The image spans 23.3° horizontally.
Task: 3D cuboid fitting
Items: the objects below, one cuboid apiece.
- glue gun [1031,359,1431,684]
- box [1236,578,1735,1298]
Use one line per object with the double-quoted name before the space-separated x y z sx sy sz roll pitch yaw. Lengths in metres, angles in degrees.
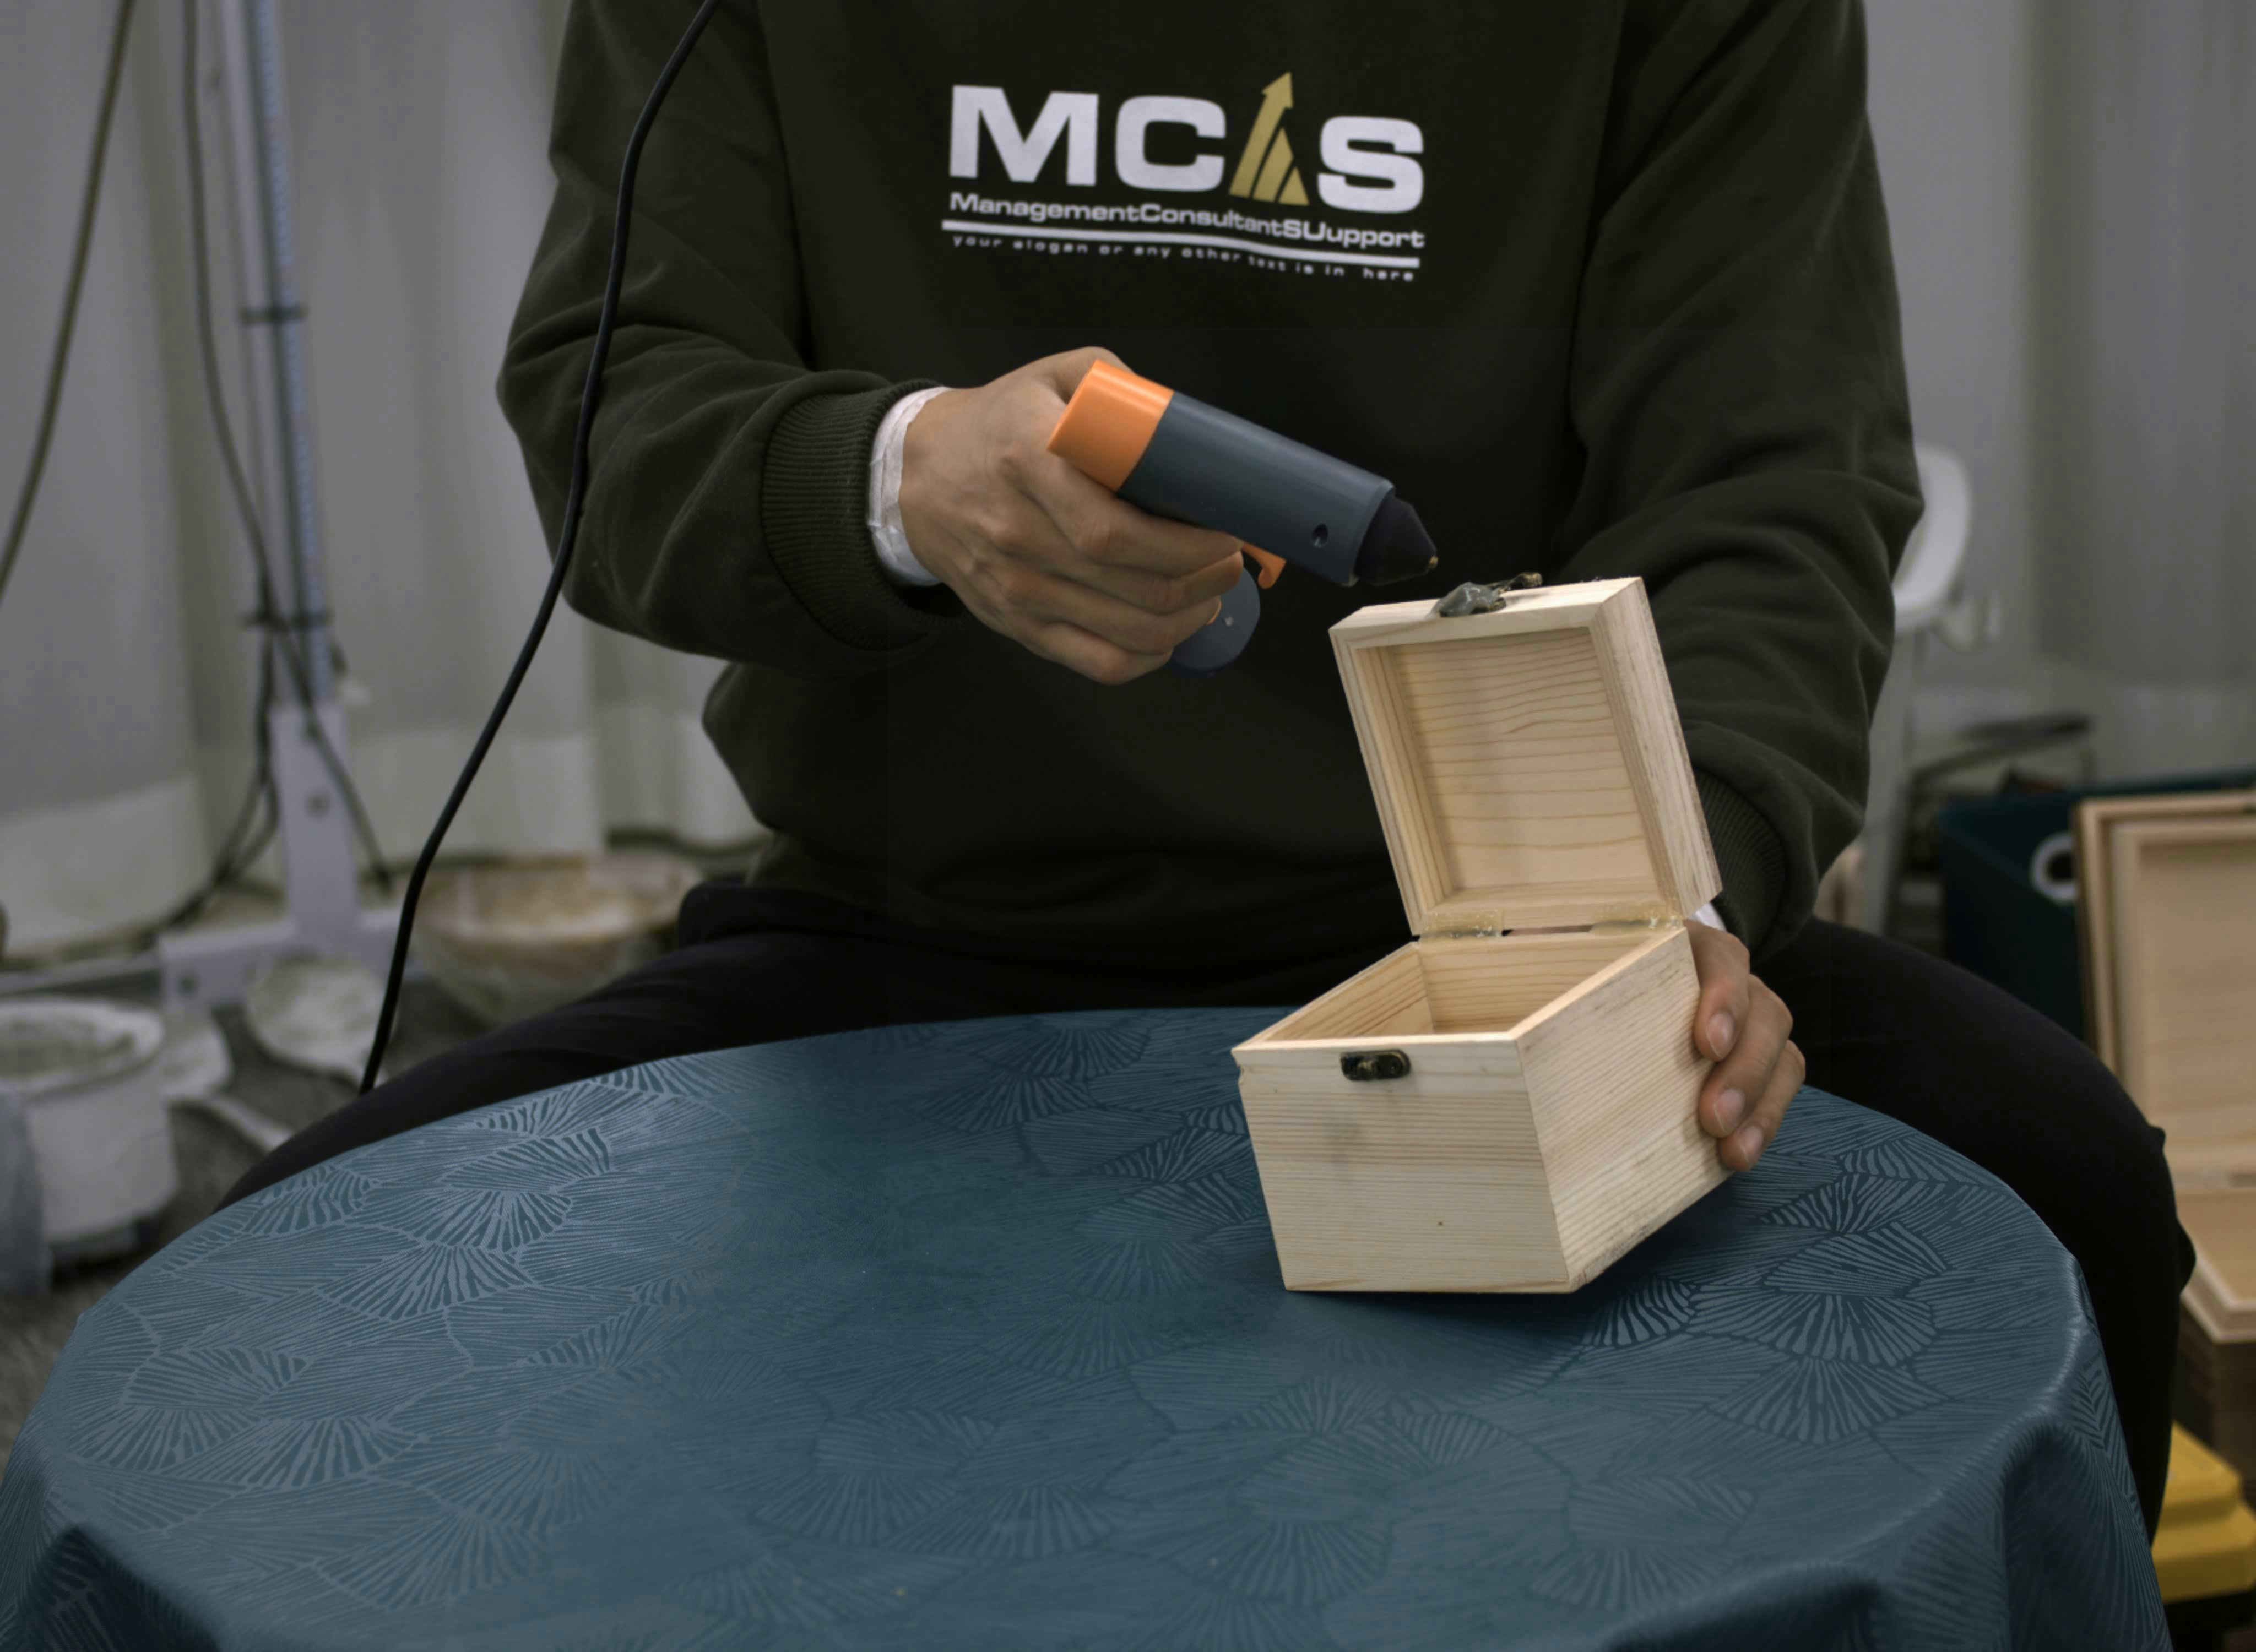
"glue gun" 0.026 -0.089 1.683 0.117 0.041 0.139 32 -21 -4
"box" 0.101 0.032 1.618 0.103 0.184 0.134 -5 13 37
